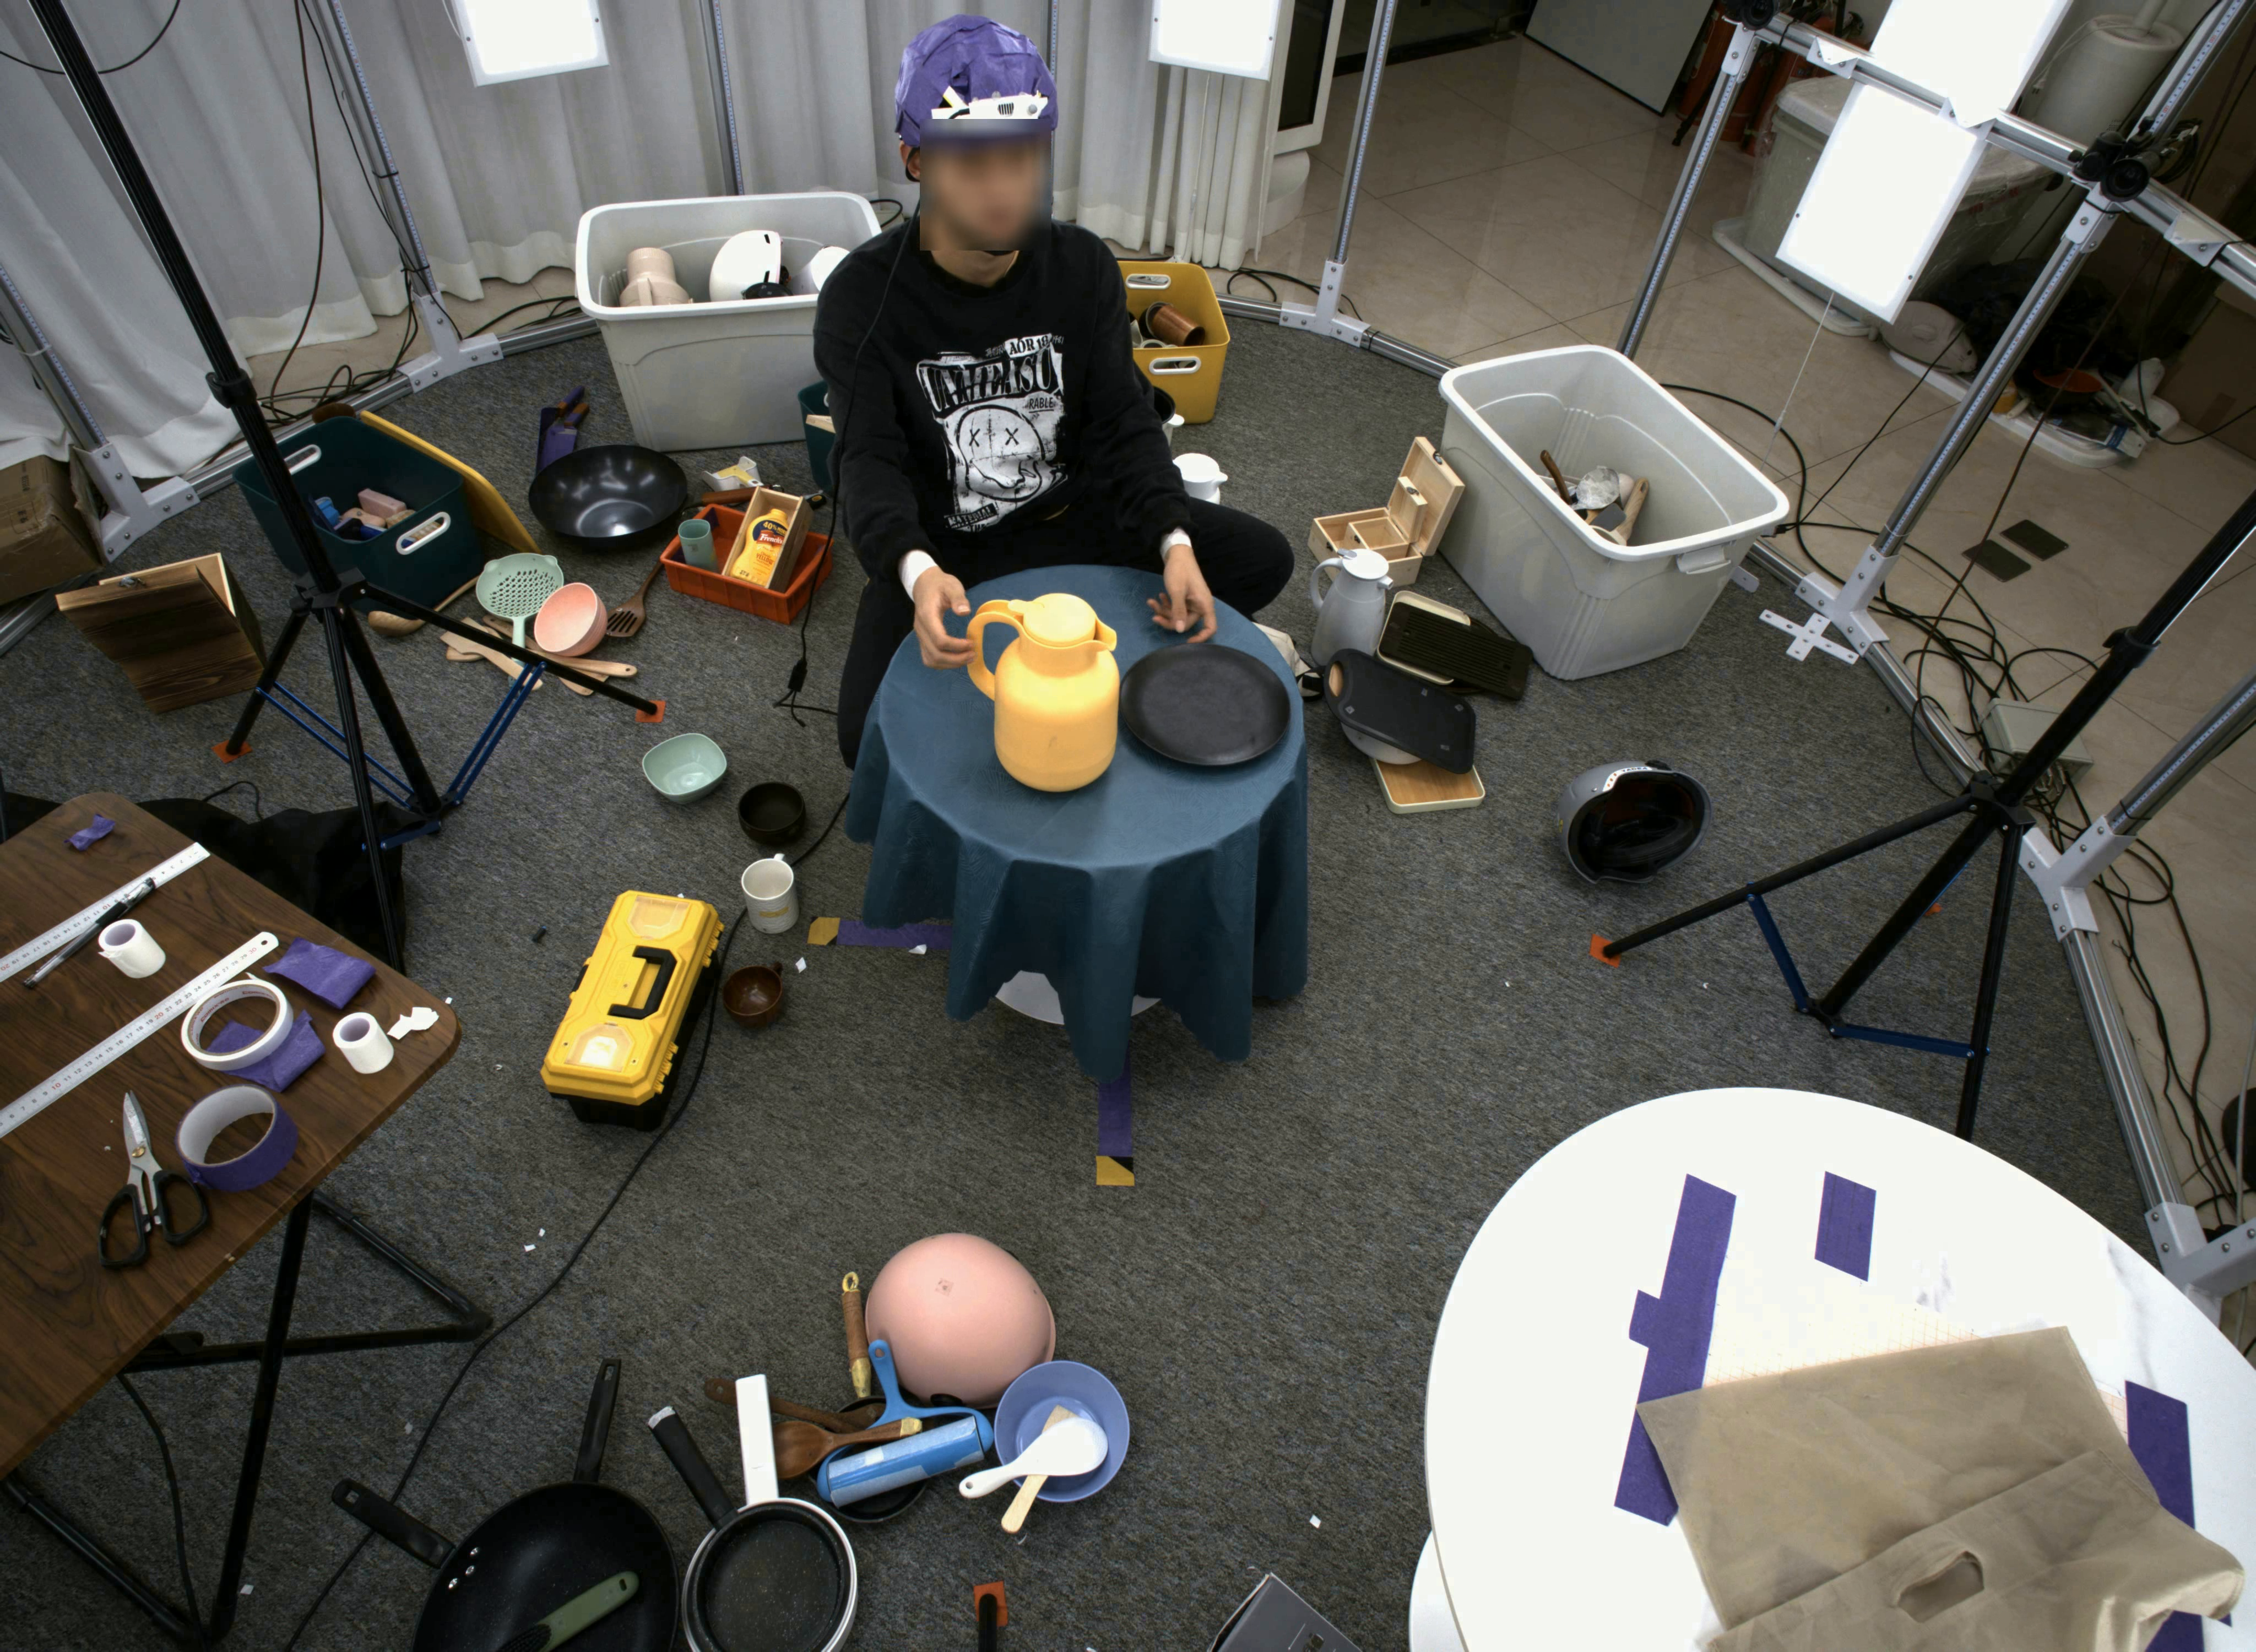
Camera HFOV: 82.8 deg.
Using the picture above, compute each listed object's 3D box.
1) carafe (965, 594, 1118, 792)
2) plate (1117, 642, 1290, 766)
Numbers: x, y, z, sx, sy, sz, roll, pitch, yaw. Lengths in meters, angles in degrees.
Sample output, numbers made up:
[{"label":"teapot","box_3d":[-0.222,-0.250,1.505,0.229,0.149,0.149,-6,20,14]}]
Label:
[{"label":"carafe","box_3d":[-0.111,-0.183,1.652,0.203,0.254,0.166,20,49,11]},{"label":"plate","box_3d":[0.107,-0.169,1.807,0.244,0.023,0.250,2,49,-2]}]
